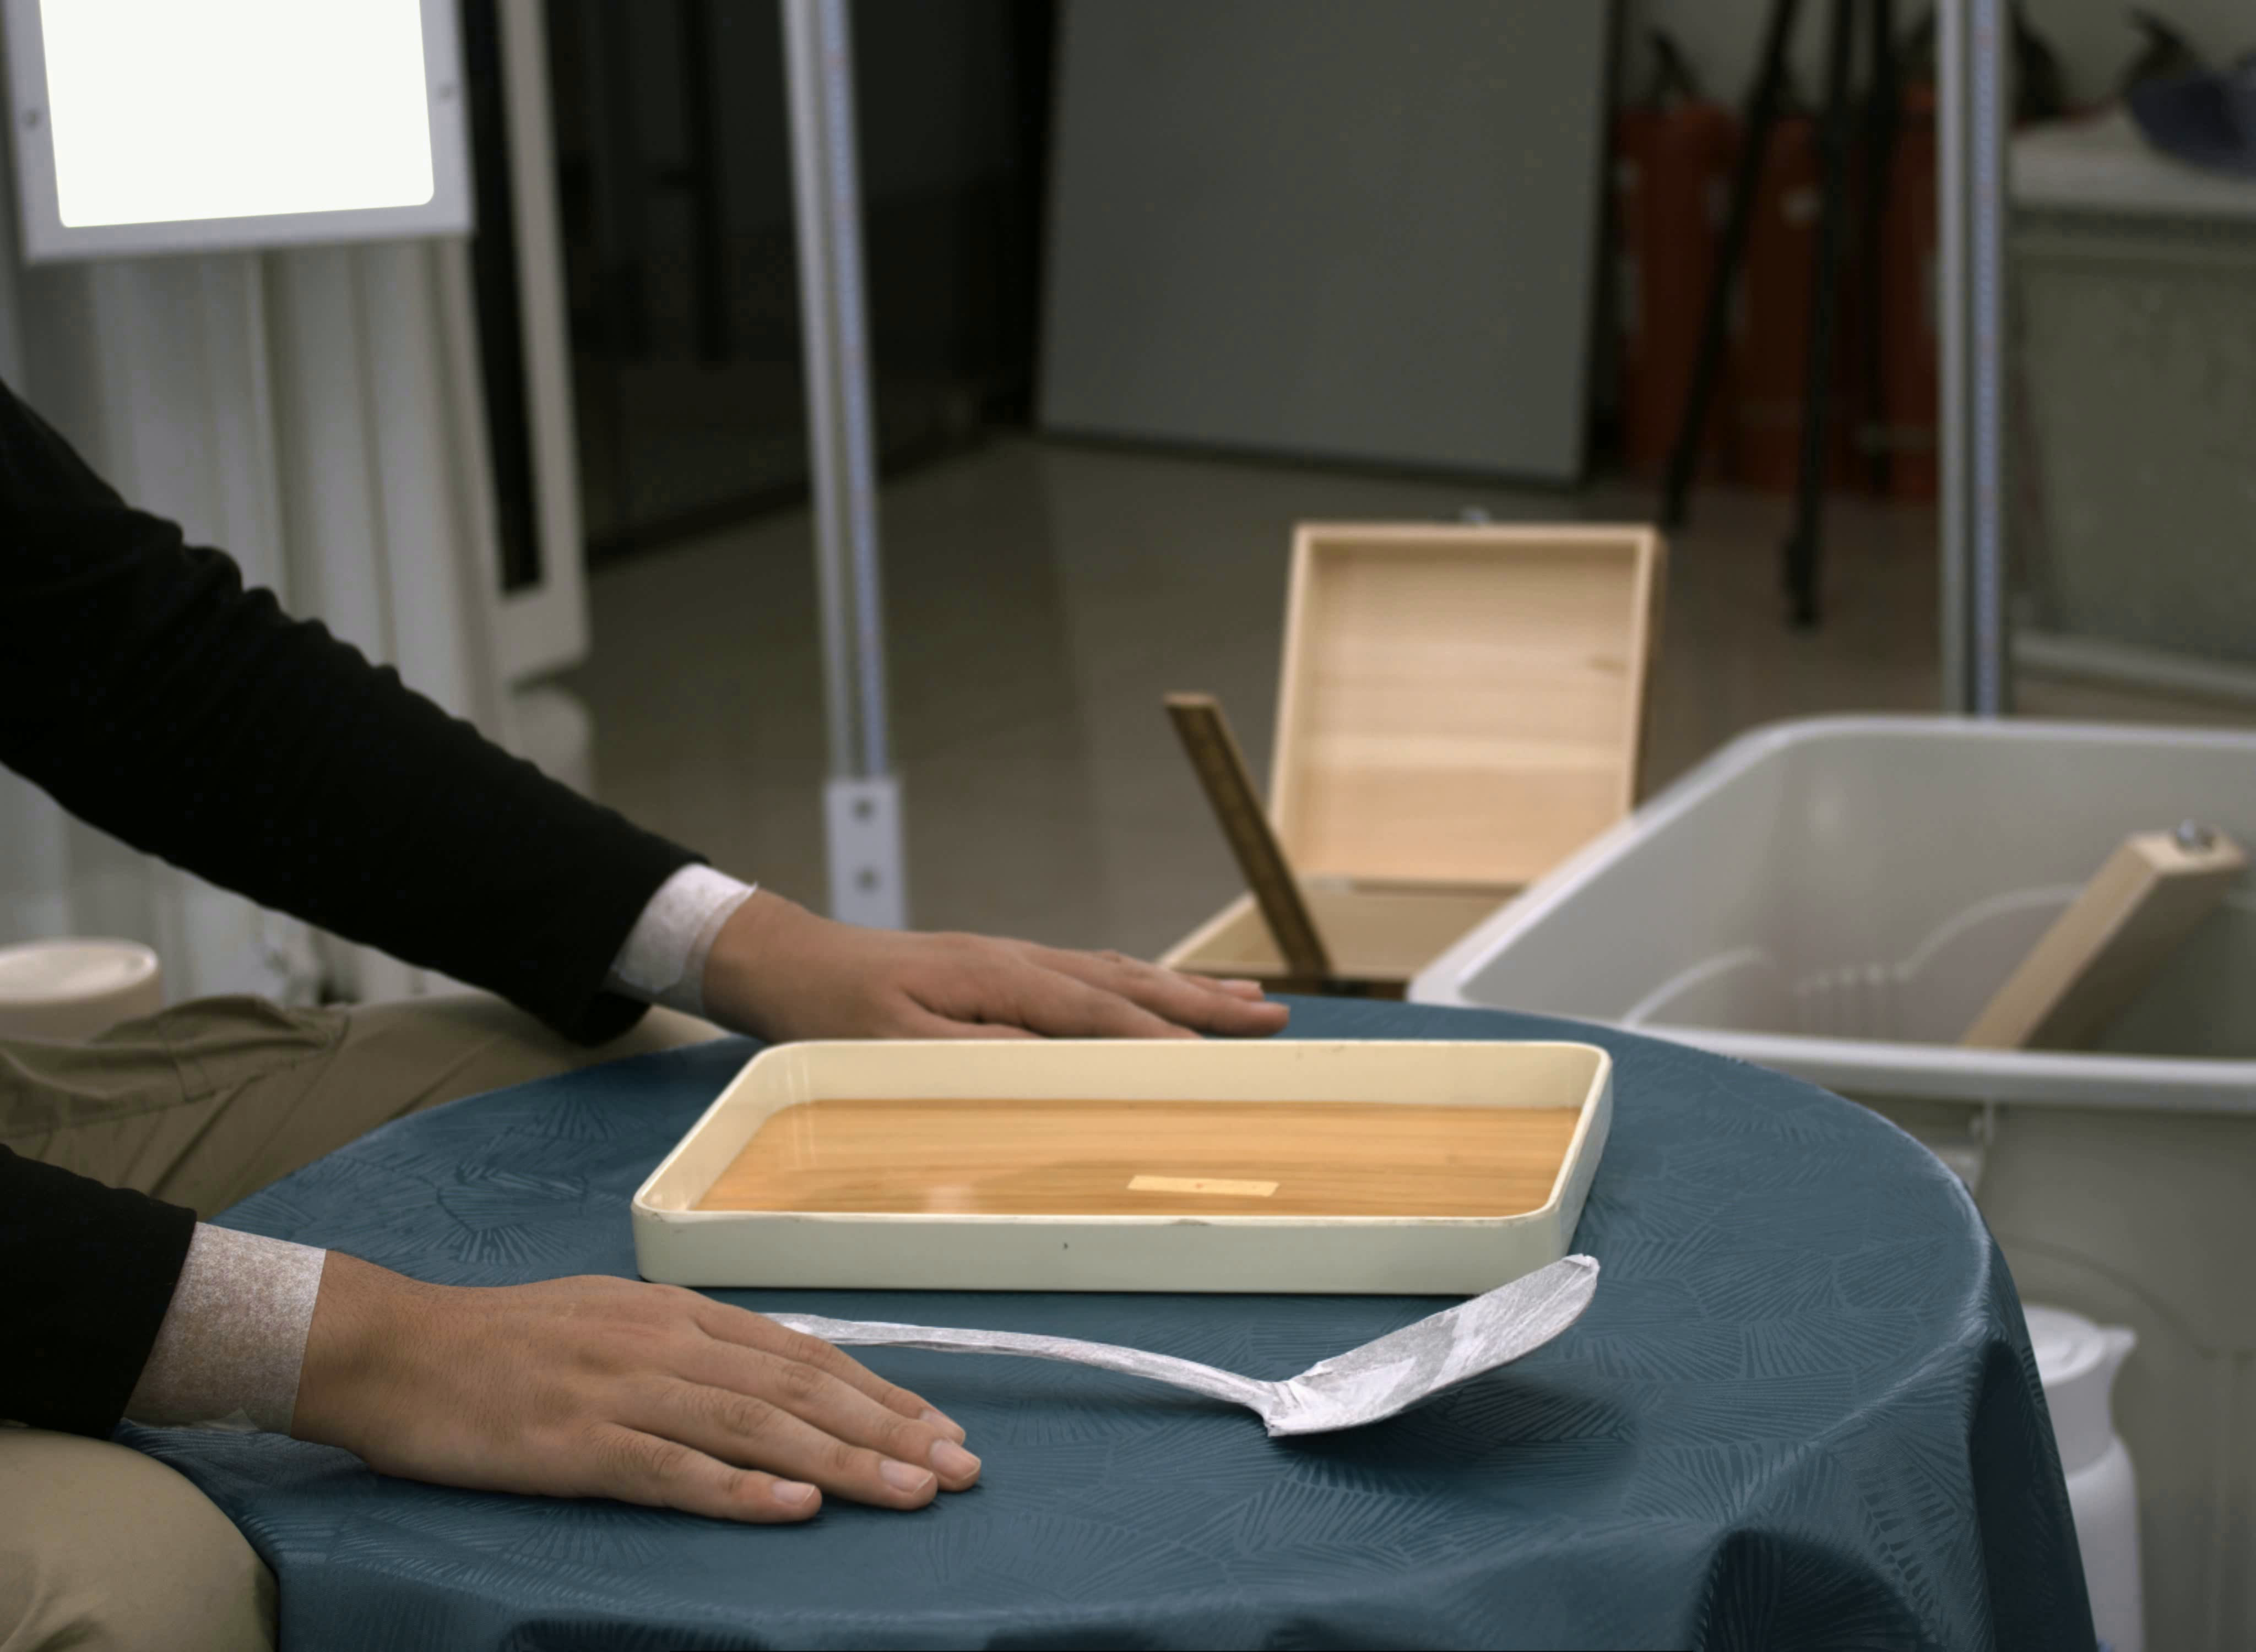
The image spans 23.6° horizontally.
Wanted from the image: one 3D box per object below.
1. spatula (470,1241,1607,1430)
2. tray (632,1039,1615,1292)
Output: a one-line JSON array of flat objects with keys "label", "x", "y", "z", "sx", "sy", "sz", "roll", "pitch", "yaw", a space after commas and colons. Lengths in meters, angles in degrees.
[{"label": "spatula", "x": -0.037, "y": 0.148, "z": 1.588, "sx": 0.364, "sy": 0.045, "sz": 0.098, "roll": 1, "pitch": 15, "yaw": 20}, {"label": "tray", "x": 0.003, "y": 0.110, "z": 1.757, "sx": 0.298, "sy": 0.028, "sz": 0.190, "roll": -1, "pitch": 14, "yaw": 14}]
